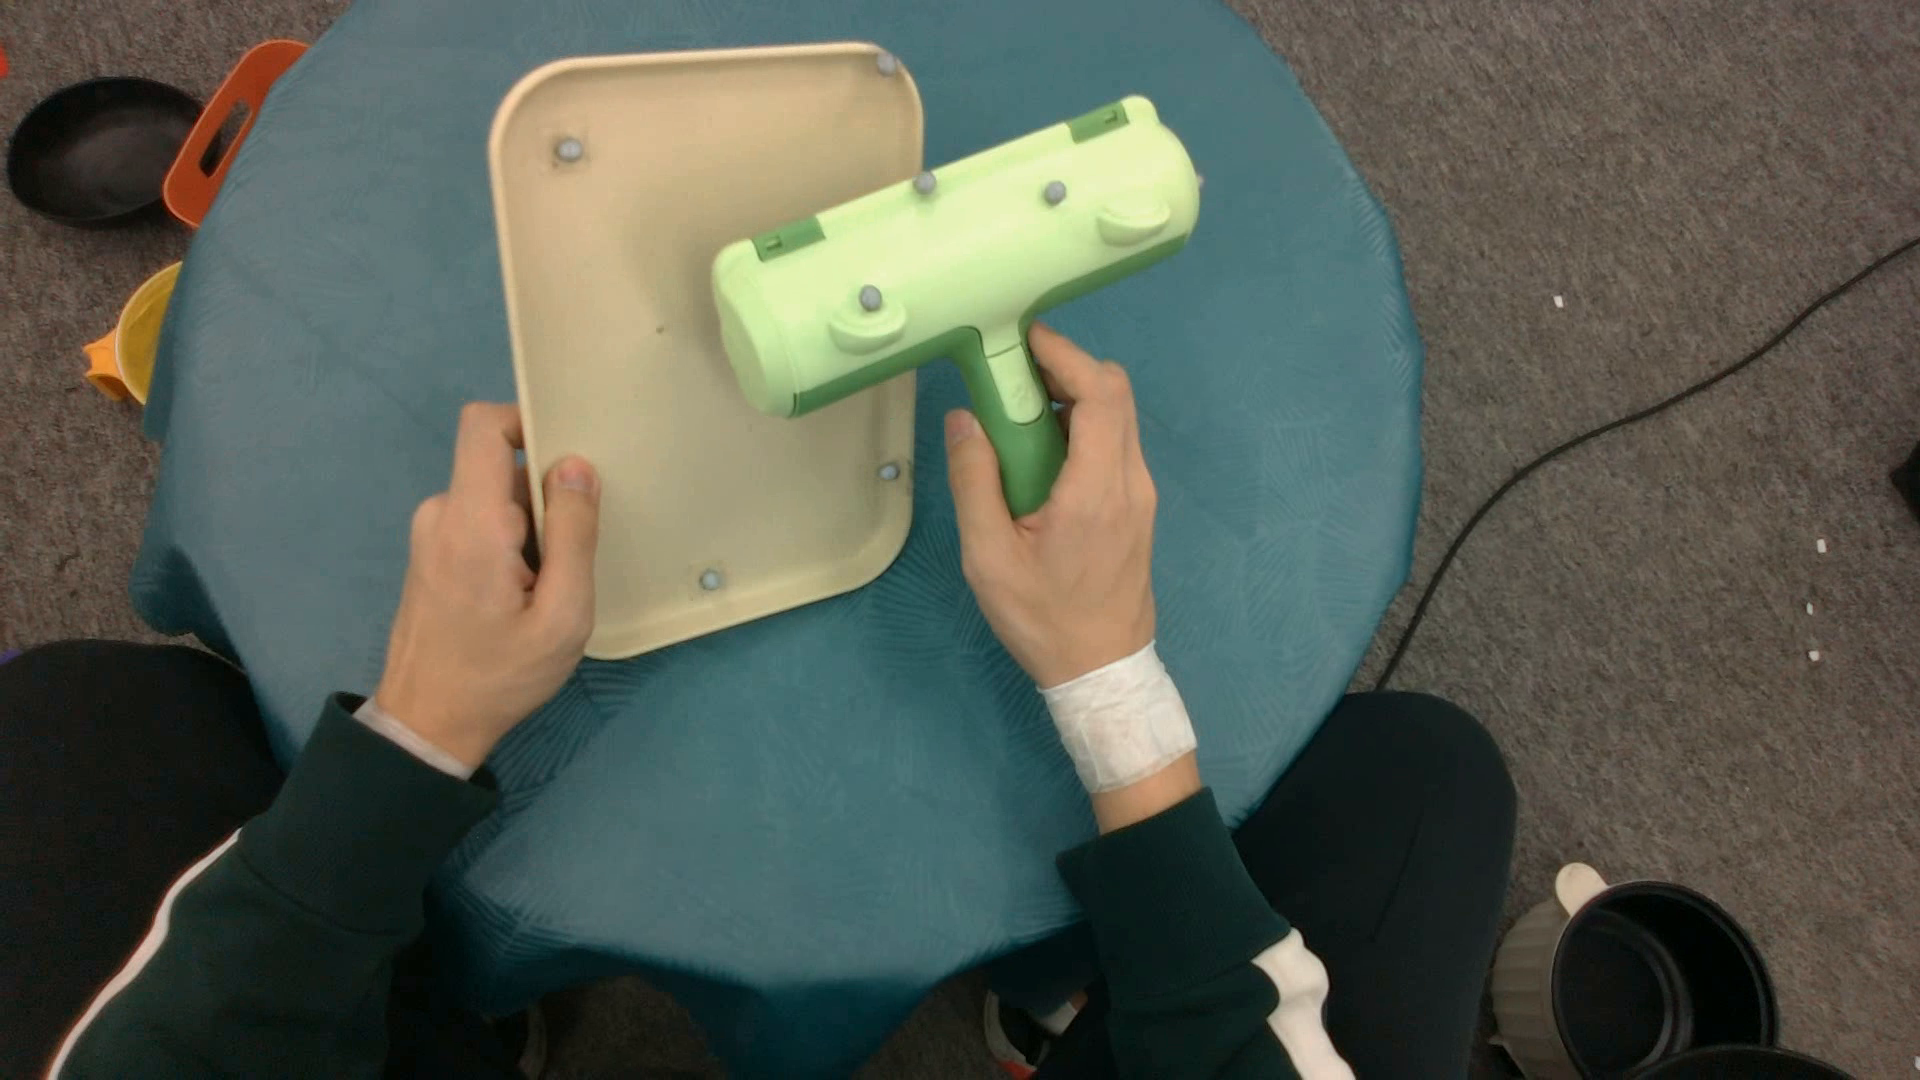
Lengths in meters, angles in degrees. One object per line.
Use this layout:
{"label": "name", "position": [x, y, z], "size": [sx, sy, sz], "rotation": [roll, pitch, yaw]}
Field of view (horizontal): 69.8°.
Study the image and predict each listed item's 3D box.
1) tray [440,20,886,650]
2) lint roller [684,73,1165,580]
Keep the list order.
{"label": "tray", "position": [-0.107, -0.078, 0.549], "size": [0.172, 0.238, 0.017], "rotation": [-19, 34, -31]}
{"label": "lint roller", "position": [0.016, -0.066, 0.535], "size": [0.199, 0.082, 0.183], "rotation": [-28, 102, -22]}
